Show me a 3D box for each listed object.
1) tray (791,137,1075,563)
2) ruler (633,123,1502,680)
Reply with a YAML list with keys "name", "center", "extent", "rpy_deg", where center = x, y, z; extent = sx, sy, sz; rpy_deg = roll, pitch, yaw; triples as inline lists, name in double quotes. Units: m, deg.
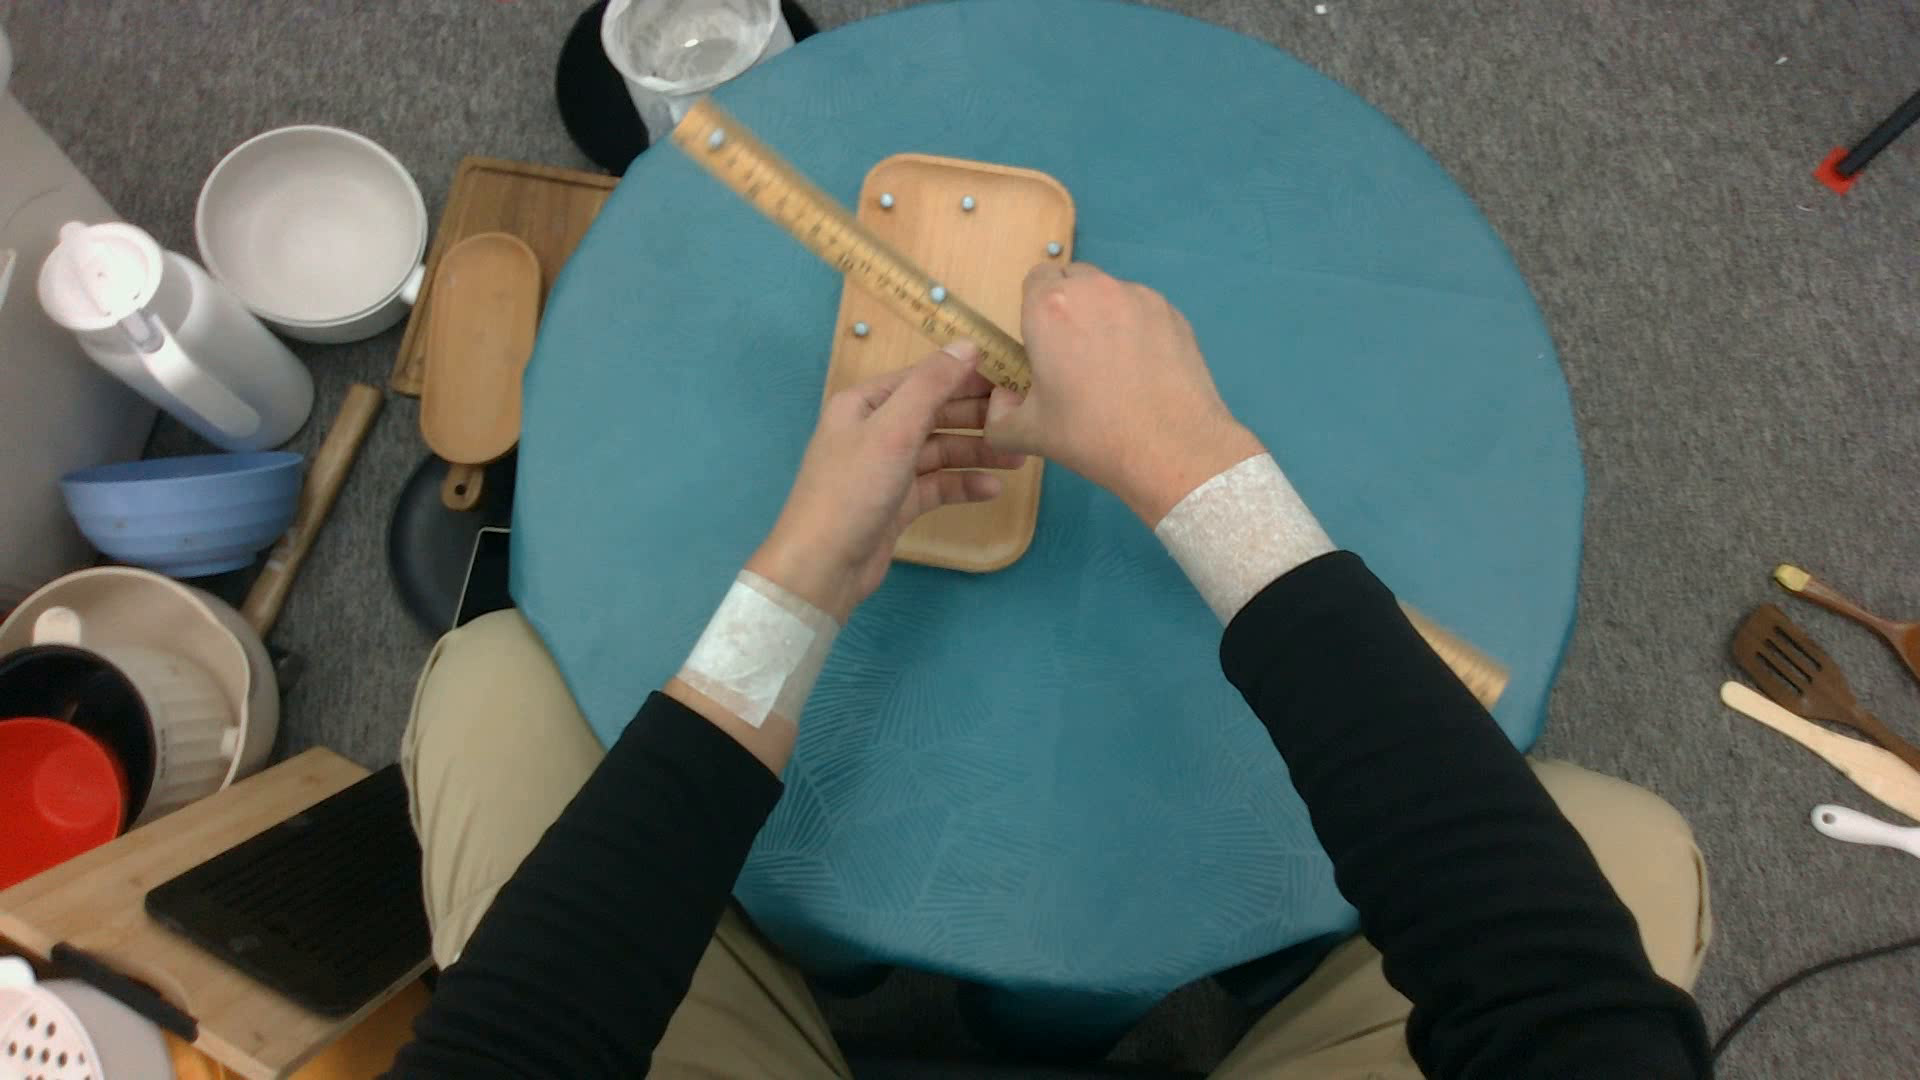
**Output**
- name: "tray"
  center: [-0.012, -0.111, 0.781]
  extent: [0.130, 0.023, 0.251]
  rpy_deg: [10, 74, 3]
- name: "ruler"
  center: [0.063, -0.062, 0.685]
  extent: [0.500, 0.006, 0.027]
  rpy_deg: [30, 85, -7]
